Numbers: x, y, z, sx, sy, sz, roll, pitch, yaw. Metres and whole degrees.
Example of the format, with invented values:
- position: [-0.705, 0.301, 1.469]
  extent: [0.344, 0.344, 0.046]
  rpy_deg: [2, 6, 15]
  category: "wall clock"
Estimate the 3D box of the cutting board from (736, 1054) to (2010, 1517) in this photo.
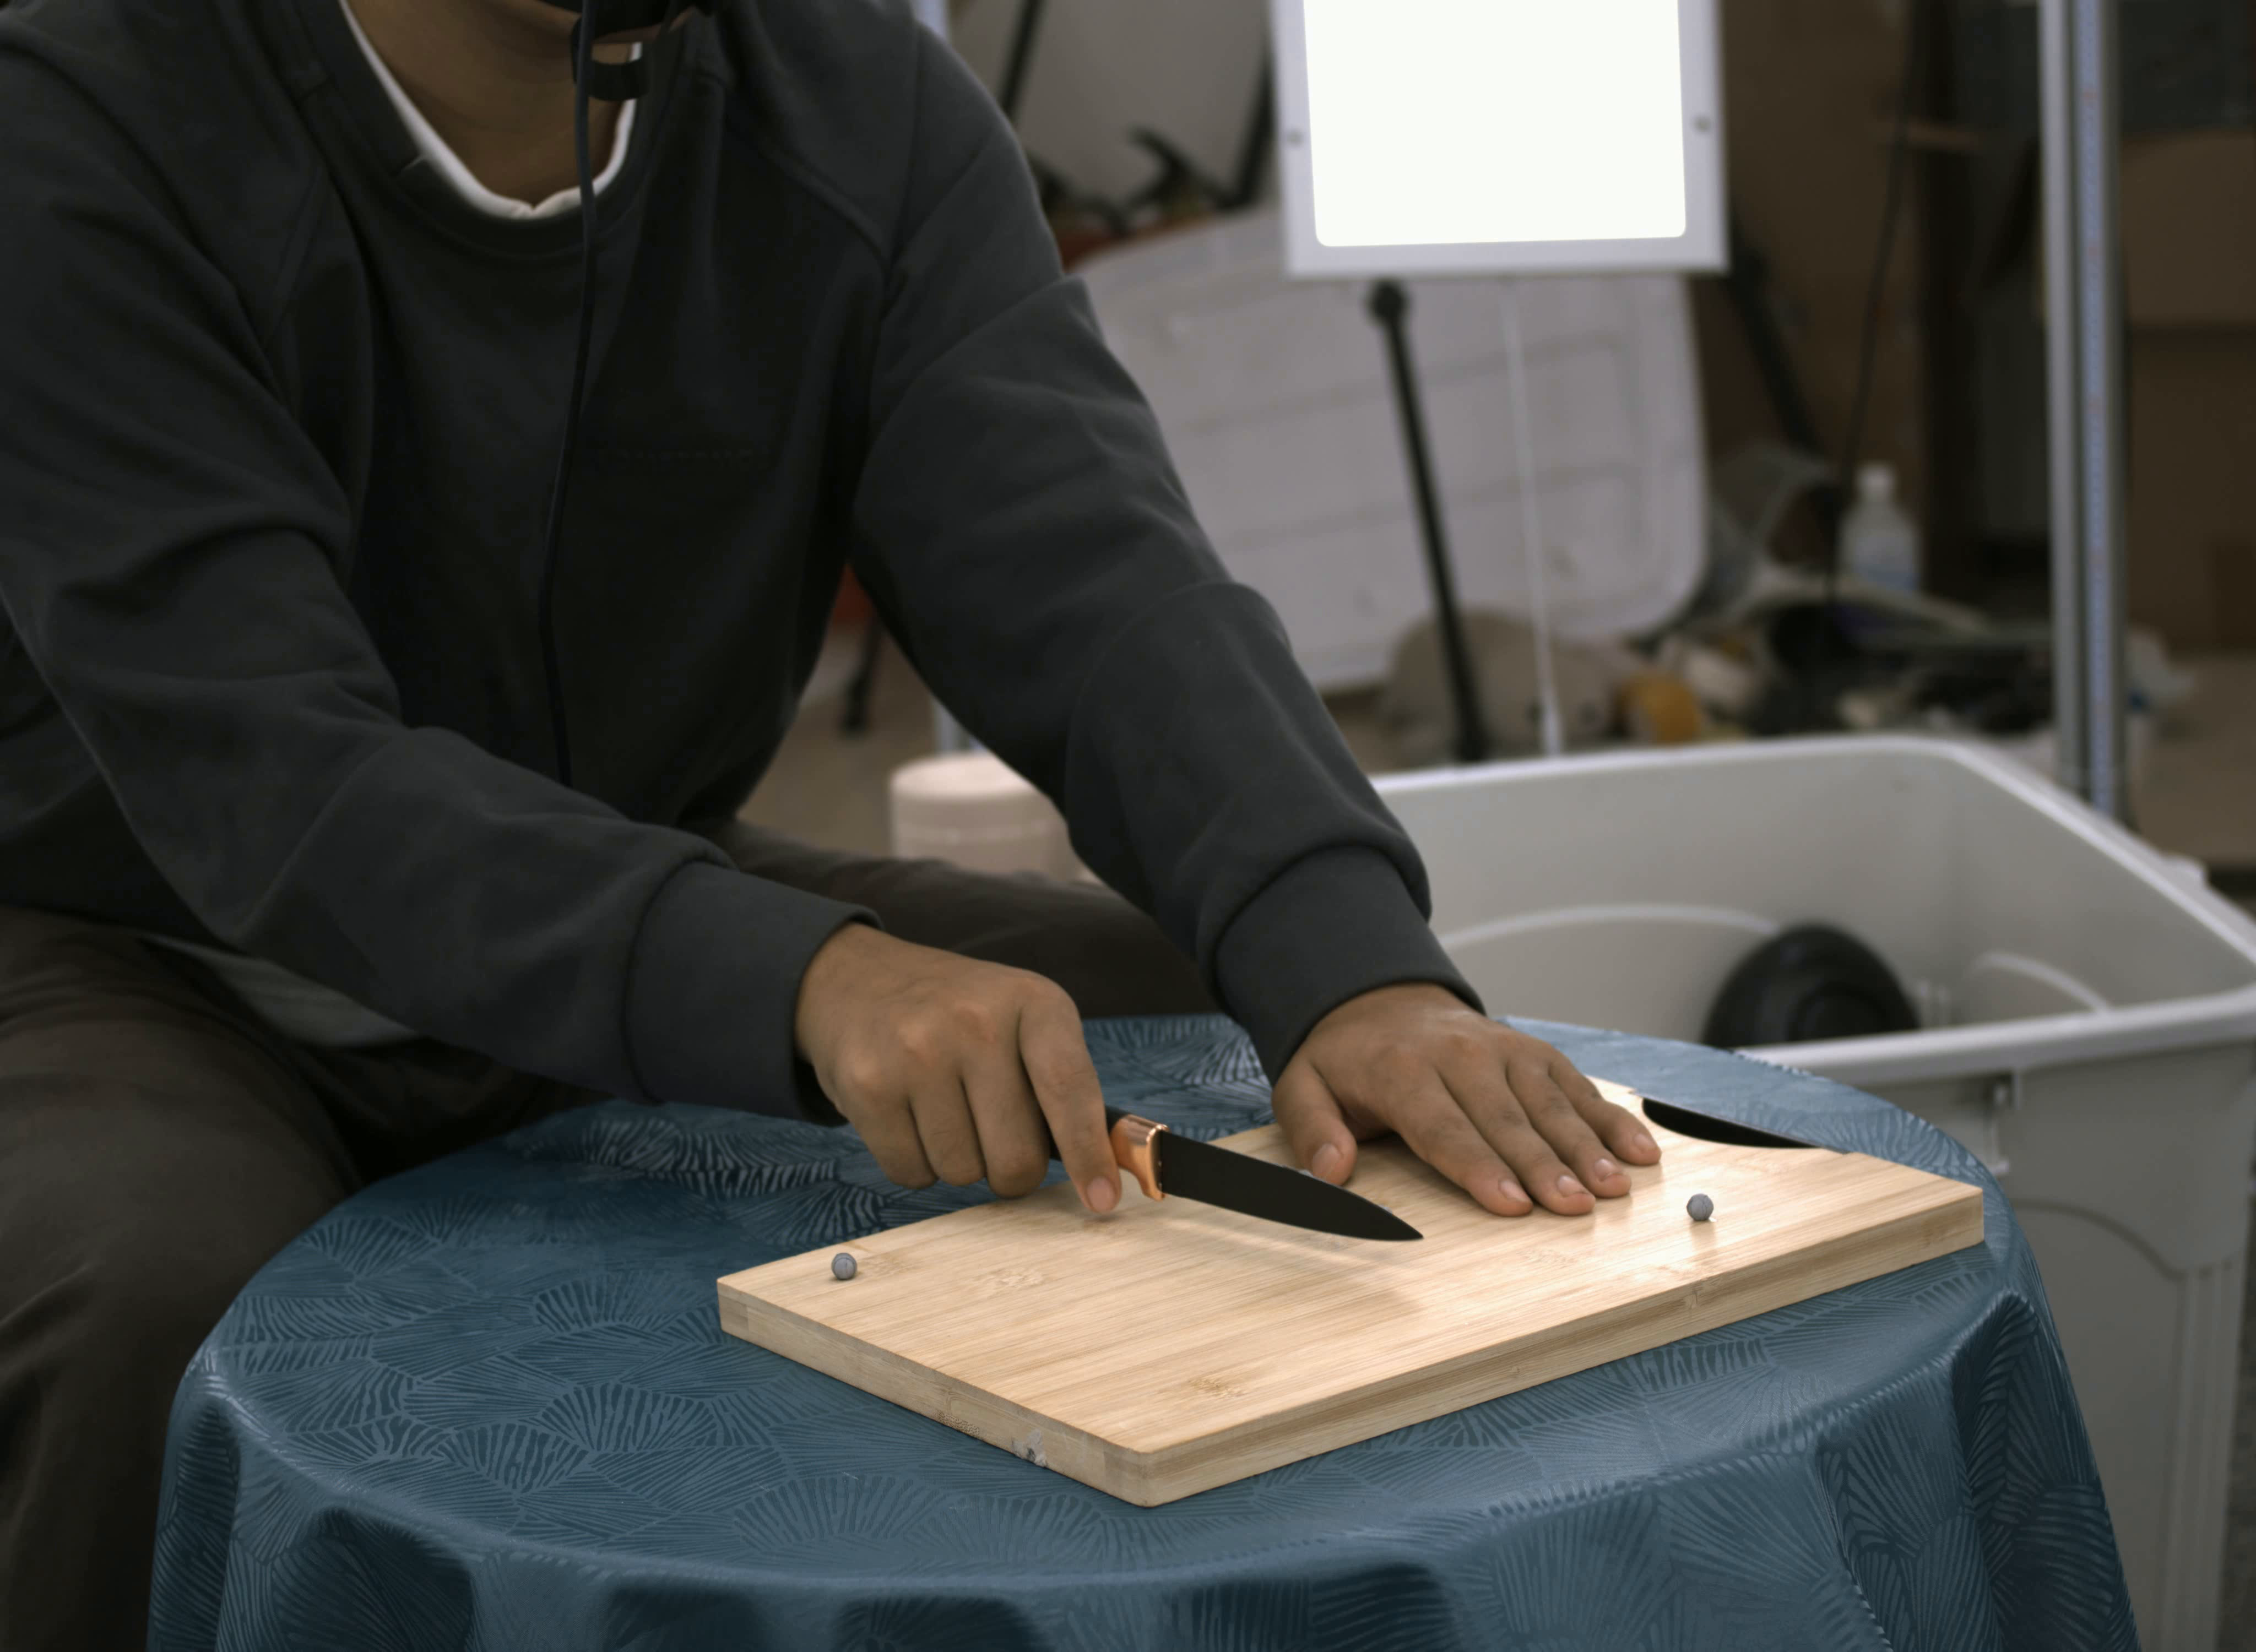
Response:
- position: [0.078, 0.140, 1.779]
  extent: [0.340, 0.023, 0.256]
  rpy_deg: [-14, 16, -33]
  category: "cutting board"

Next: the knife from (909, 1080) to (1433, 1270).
- position: [0.012, 0.113, 1.800]
  extent: [0.230, 0.026, 0.017]
  rpy_deg: [12, 20, 42]
  category: "knife"
